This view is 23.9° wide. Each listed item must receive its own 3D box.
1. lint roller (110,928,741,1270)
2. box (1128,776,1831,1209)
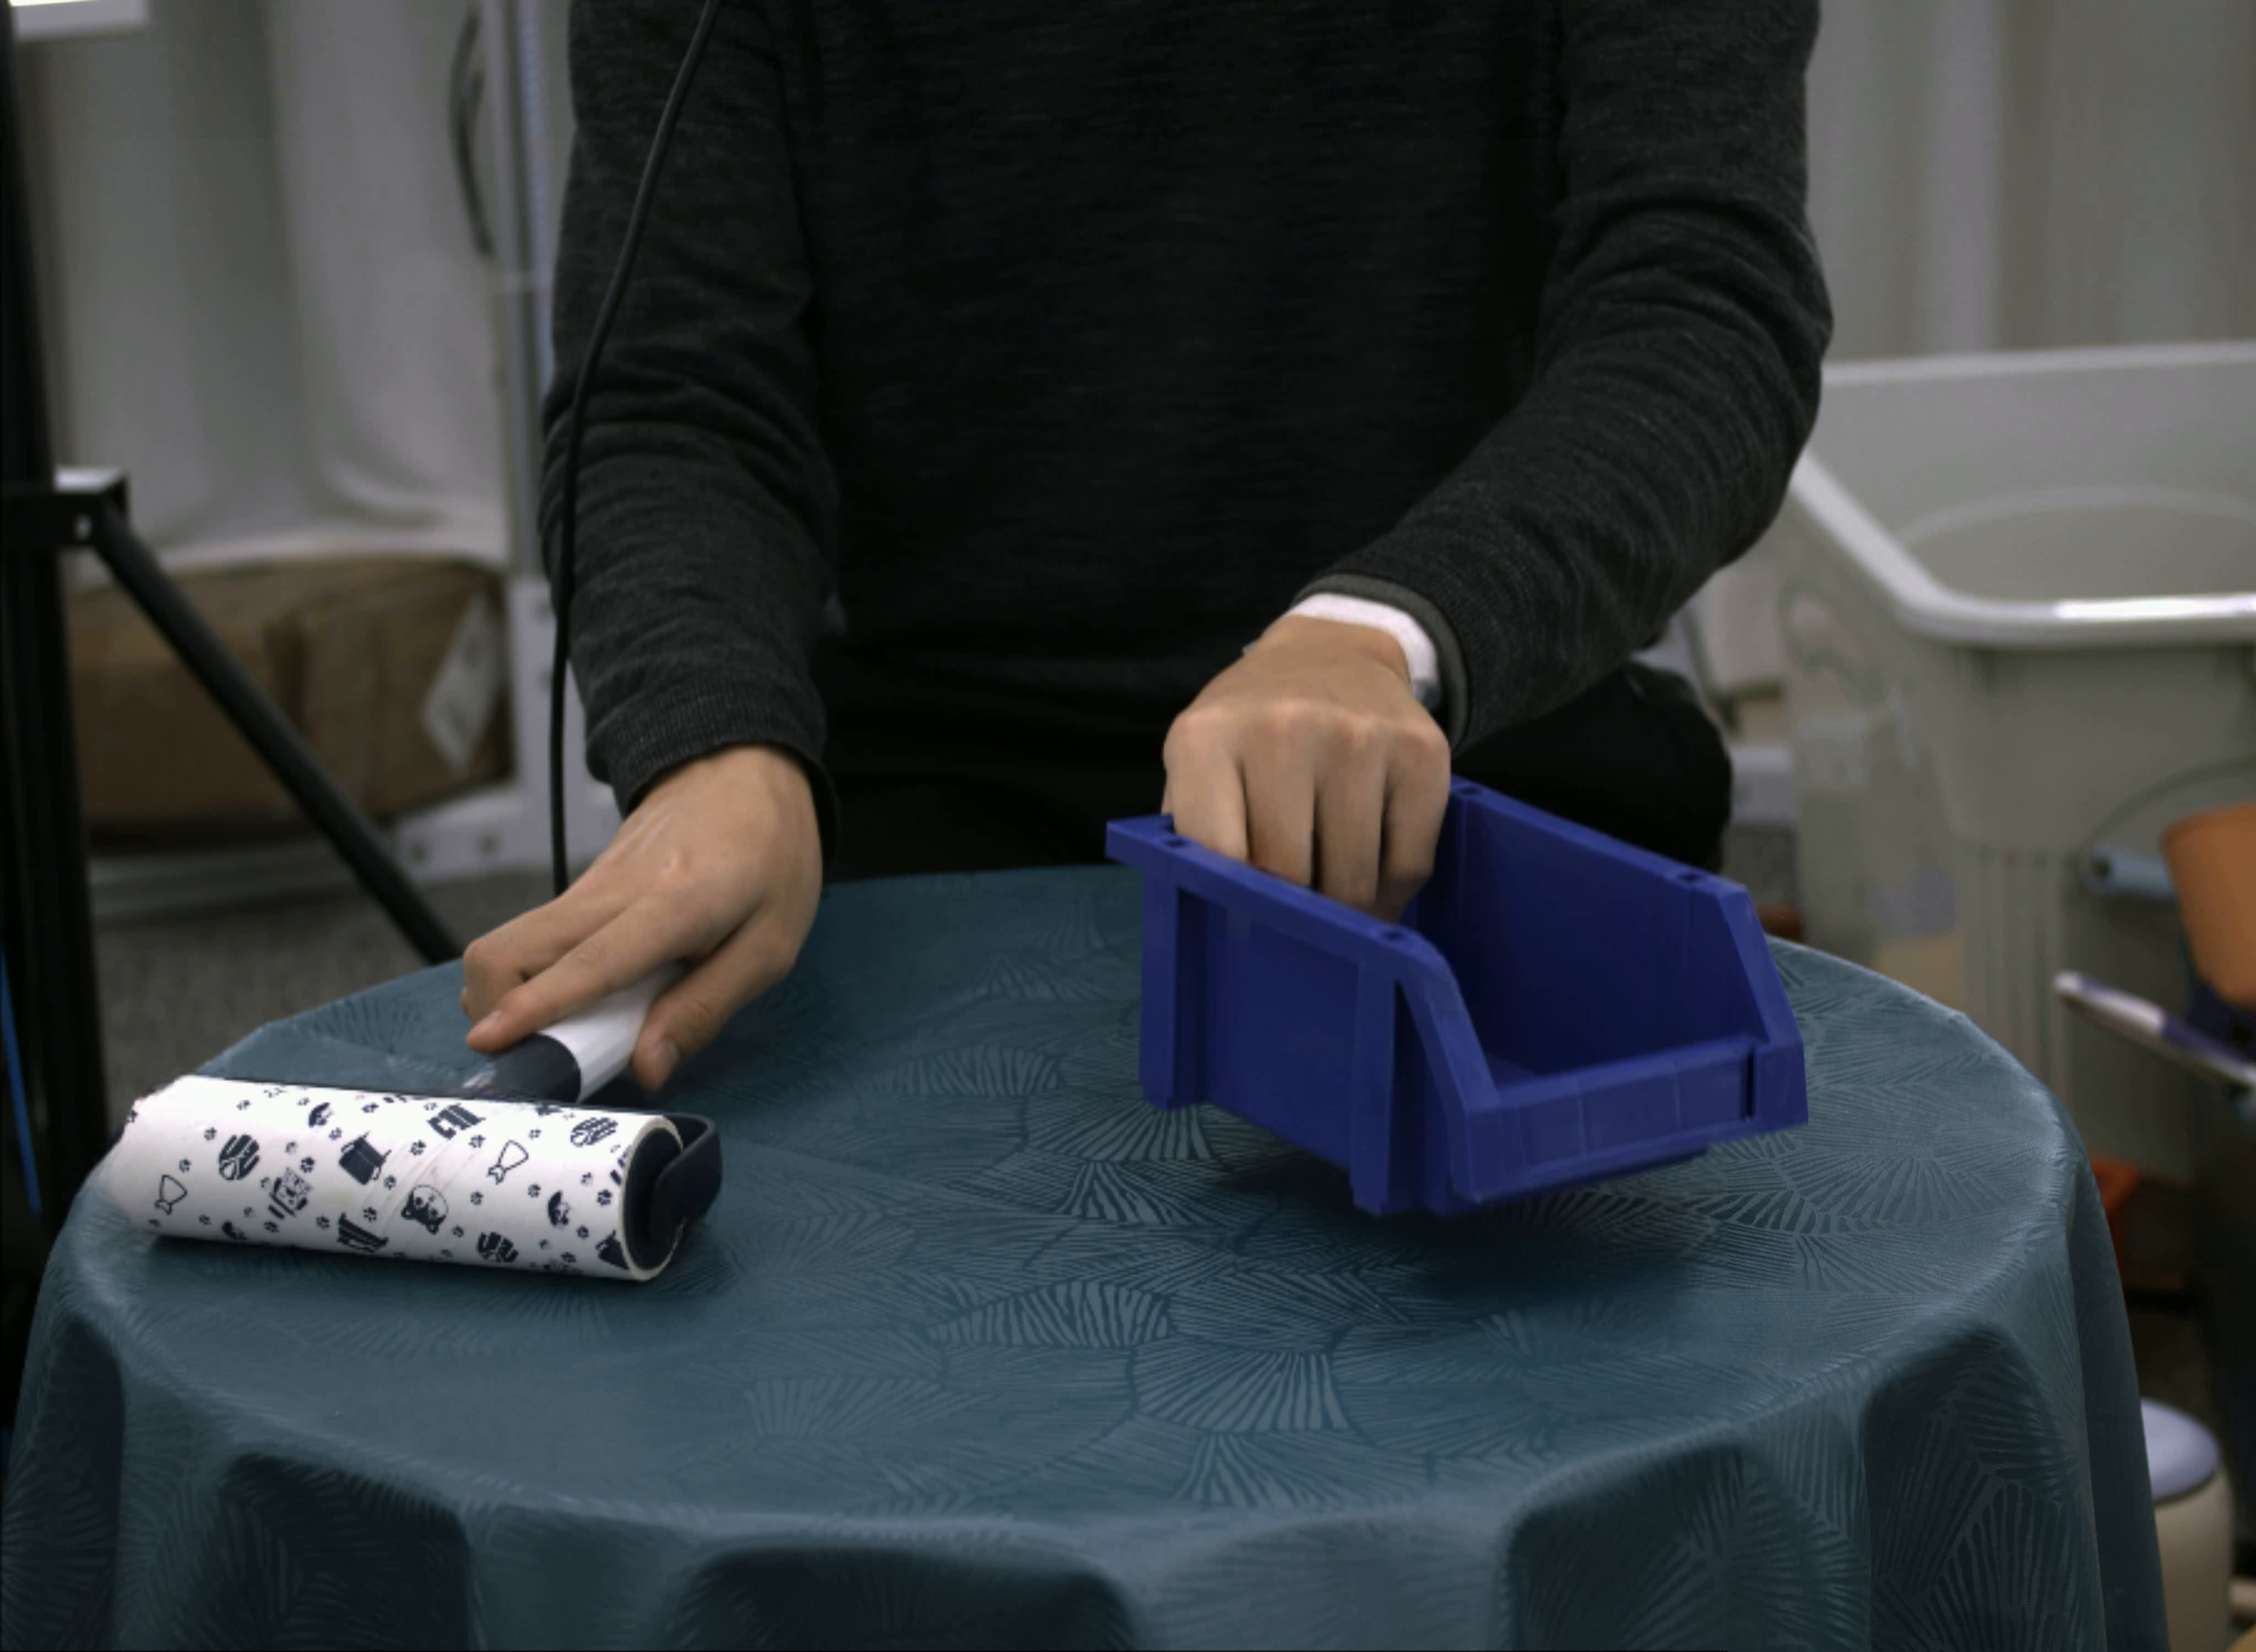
[{"bbox_3d":[-0.176,0.070,1.622,0.178,0.050,0.244,2,18,20],"label":"lint roller"},{"bbox_3d":[0.100,0.049,1.513,0.121,0.082,0.183,-8,15,-31],"label":"box"}]
